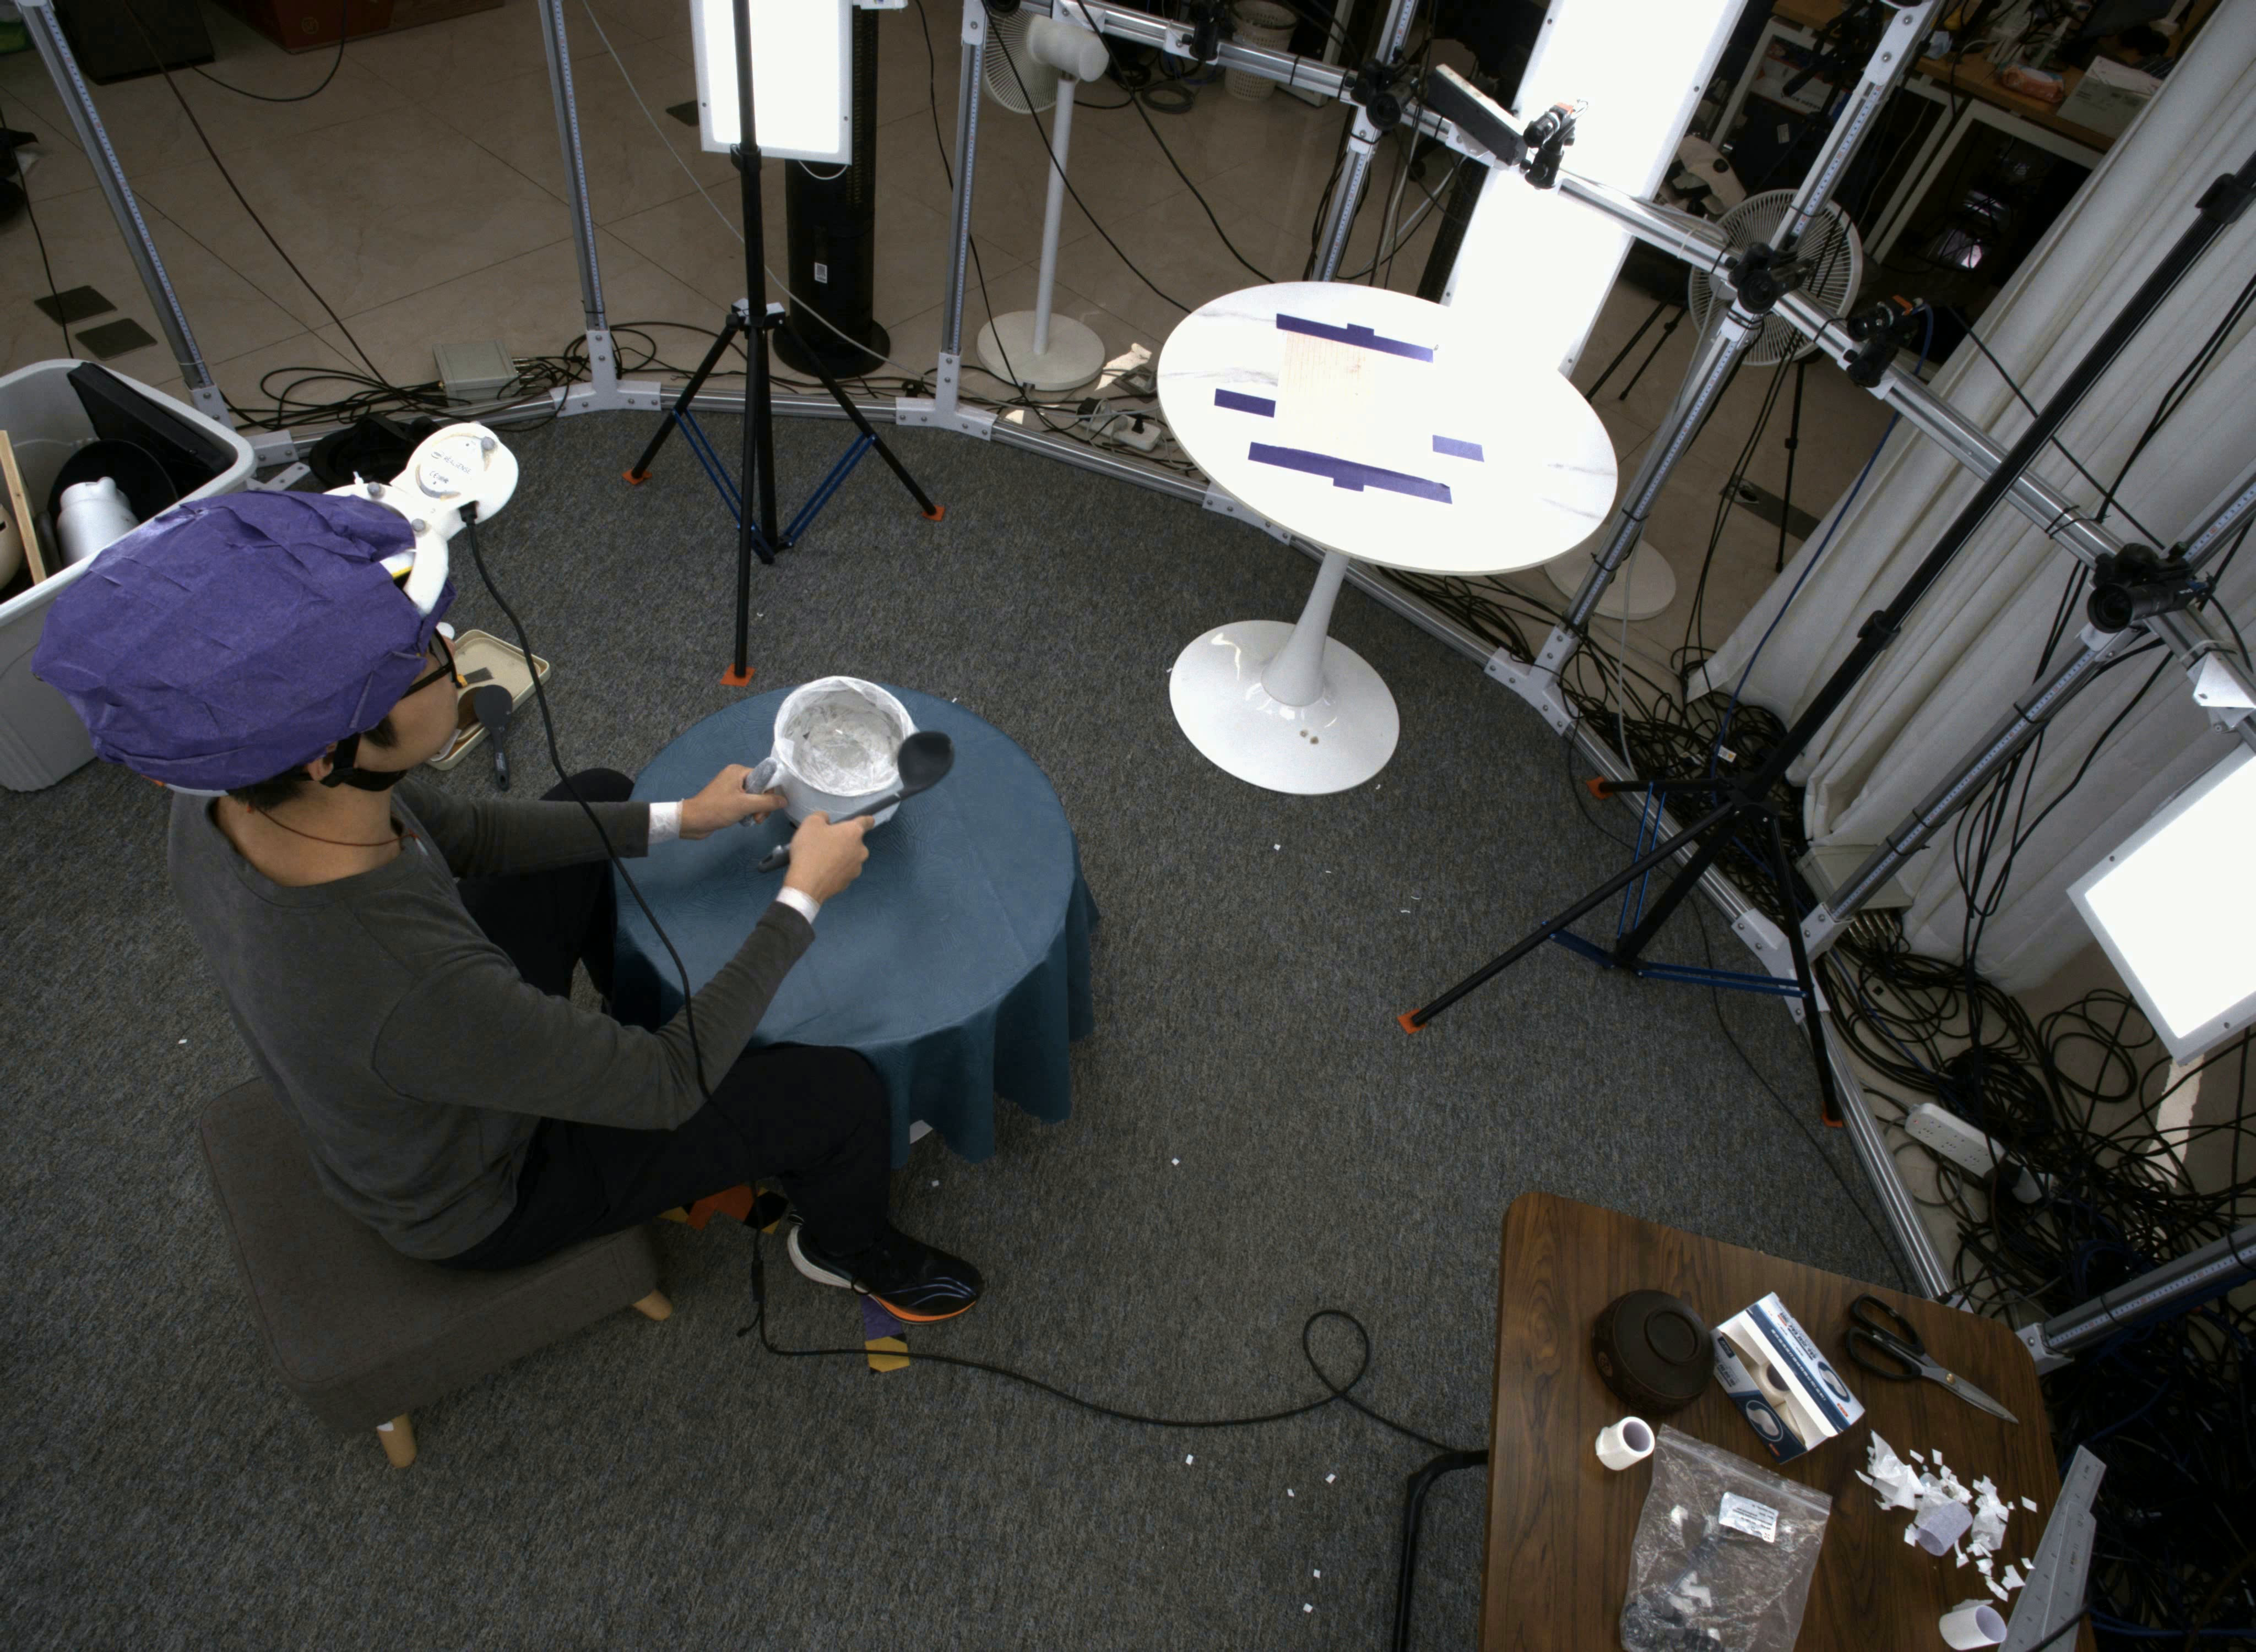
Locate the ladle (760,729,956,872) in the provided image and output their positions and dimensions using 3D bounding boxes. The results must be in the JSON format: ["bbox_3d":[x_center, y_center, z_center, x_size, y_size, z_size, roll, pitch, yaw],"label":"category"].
[{"bbox_3d":[-0.314,-0.035,1.500,0.083,0.066,0.315,2,22,34],"label":"ladle"}]

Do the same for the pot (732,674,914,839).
[{"bbox_3d":[-0.395,-0.074,1.664,0.235,0.138,0.176,-27,73,-31],"label":"pot"}]
